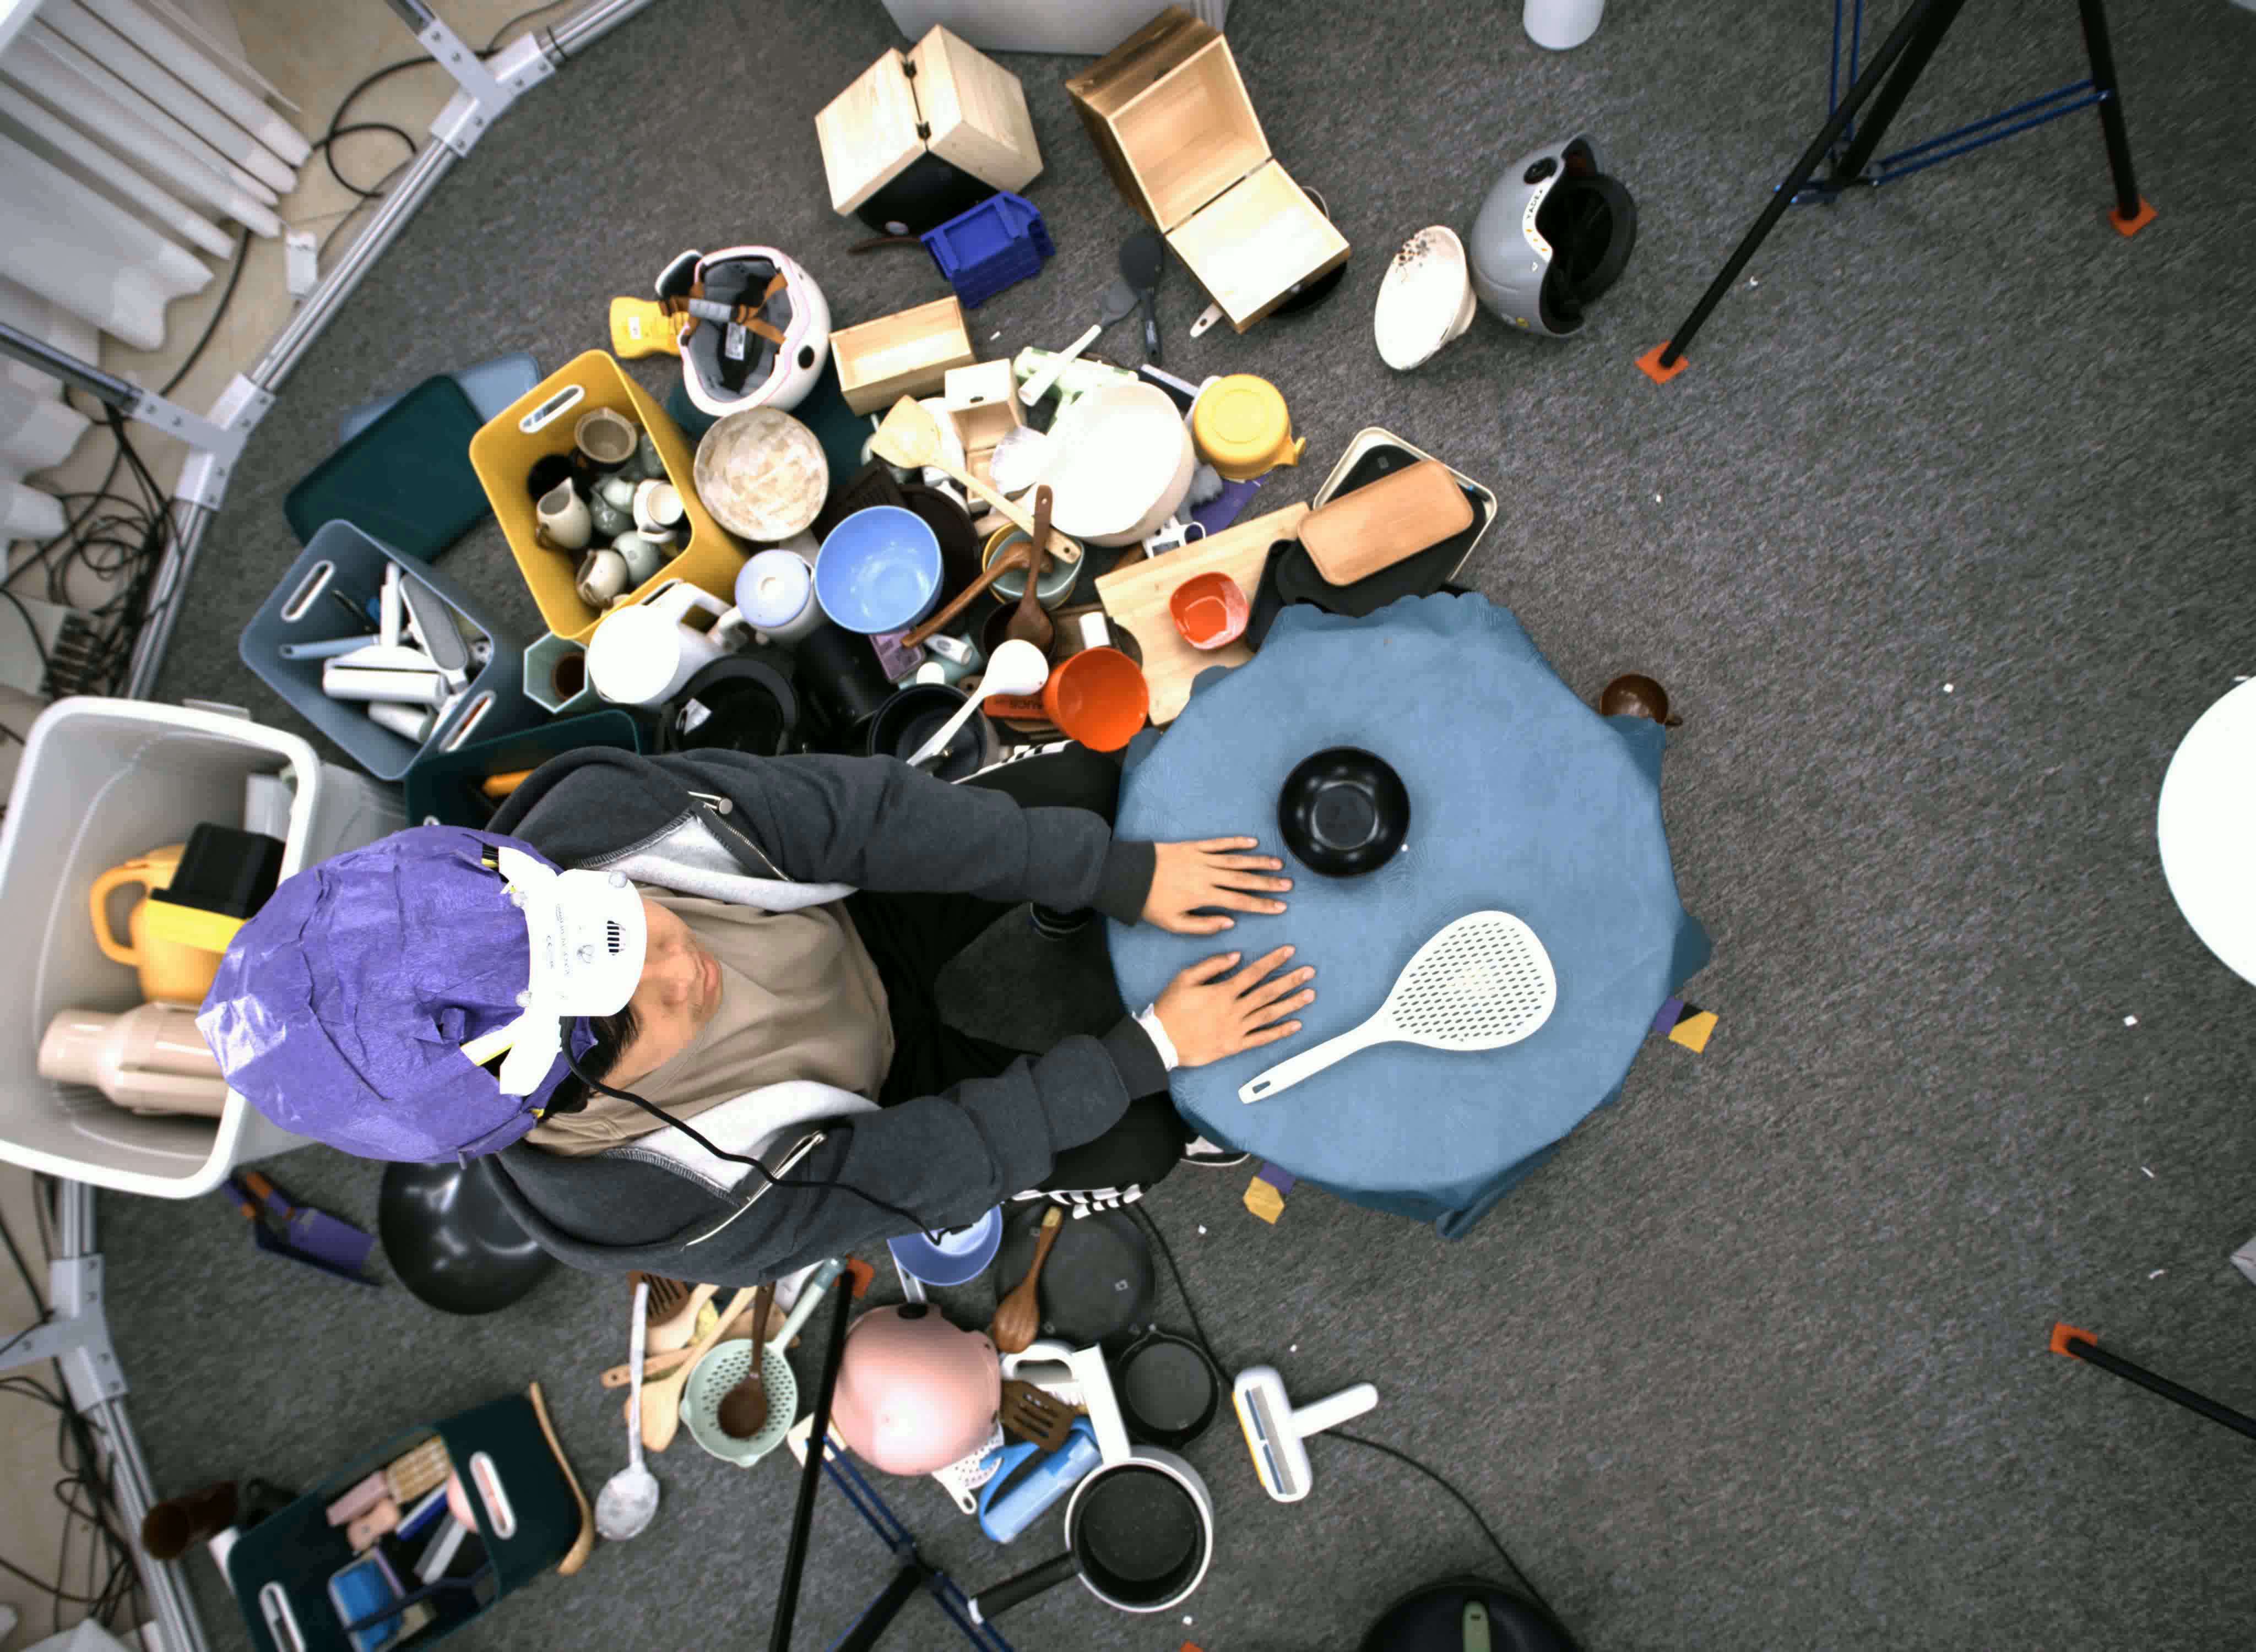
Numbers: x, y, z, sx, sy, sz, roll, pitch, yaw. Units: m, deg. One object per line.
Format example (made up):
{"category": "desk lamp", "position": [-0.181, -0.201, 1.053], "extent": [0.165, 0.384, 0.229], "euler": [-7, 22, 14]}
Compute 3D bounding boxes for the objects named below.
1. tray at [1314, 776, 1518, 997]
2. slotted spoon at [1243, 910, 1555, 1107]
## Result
{"category": "tray", "position": [0.414, 0.094, 1.987], "extent": [0.191, 0.027, 0.300], "euler": [27, 91, 11]}
{"category": "slotted spoon", "position": [0.270, 0.205, 1.432], "extent": [0.350, 0.050, 0.136], "euler": [-28, 86, 8]}
